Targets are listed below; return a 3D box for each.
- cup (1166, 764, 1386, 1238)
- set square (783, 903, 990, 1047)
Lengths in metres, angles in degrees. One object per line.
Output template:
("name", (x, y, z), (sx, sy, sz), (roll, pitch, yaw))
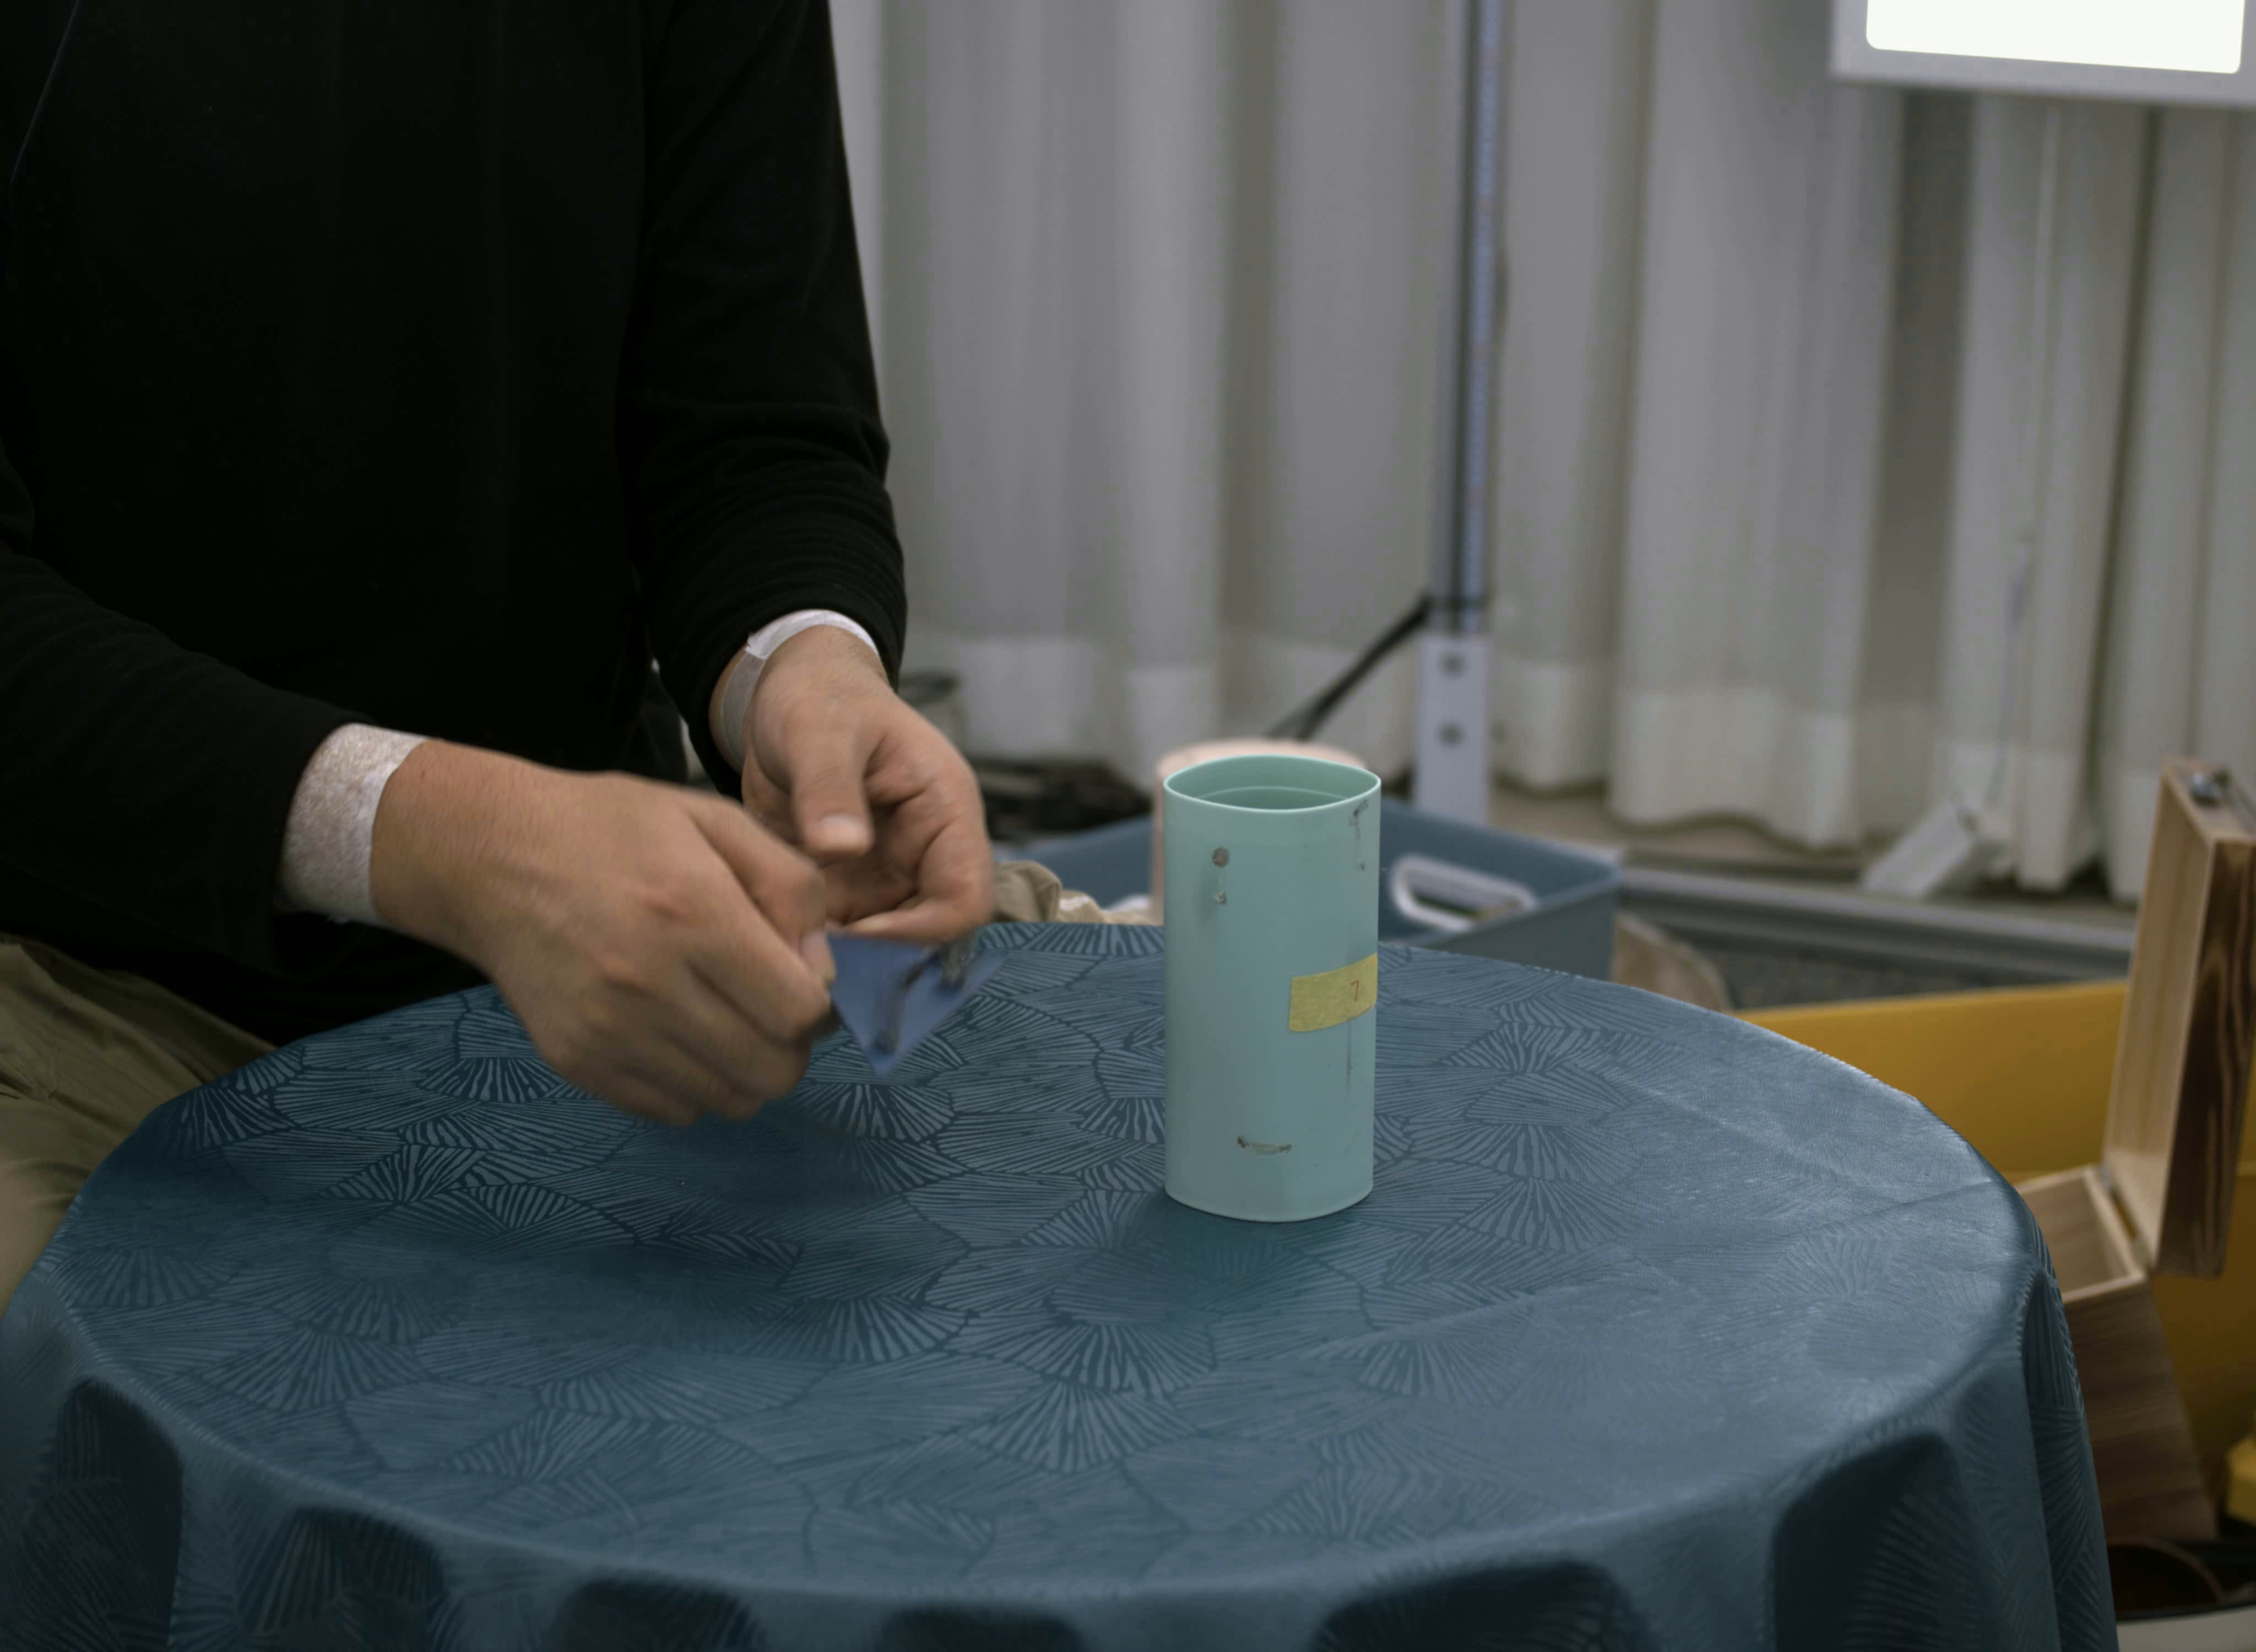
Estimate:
("cup", (0.043, 0.052, 1.607), (0.066, 0.133, 0.066), (1, 17, 0))
("set square", (-0.088, 0.039, 1.539), (0.060, 0.006, 0.132), (20, 18, 15))
